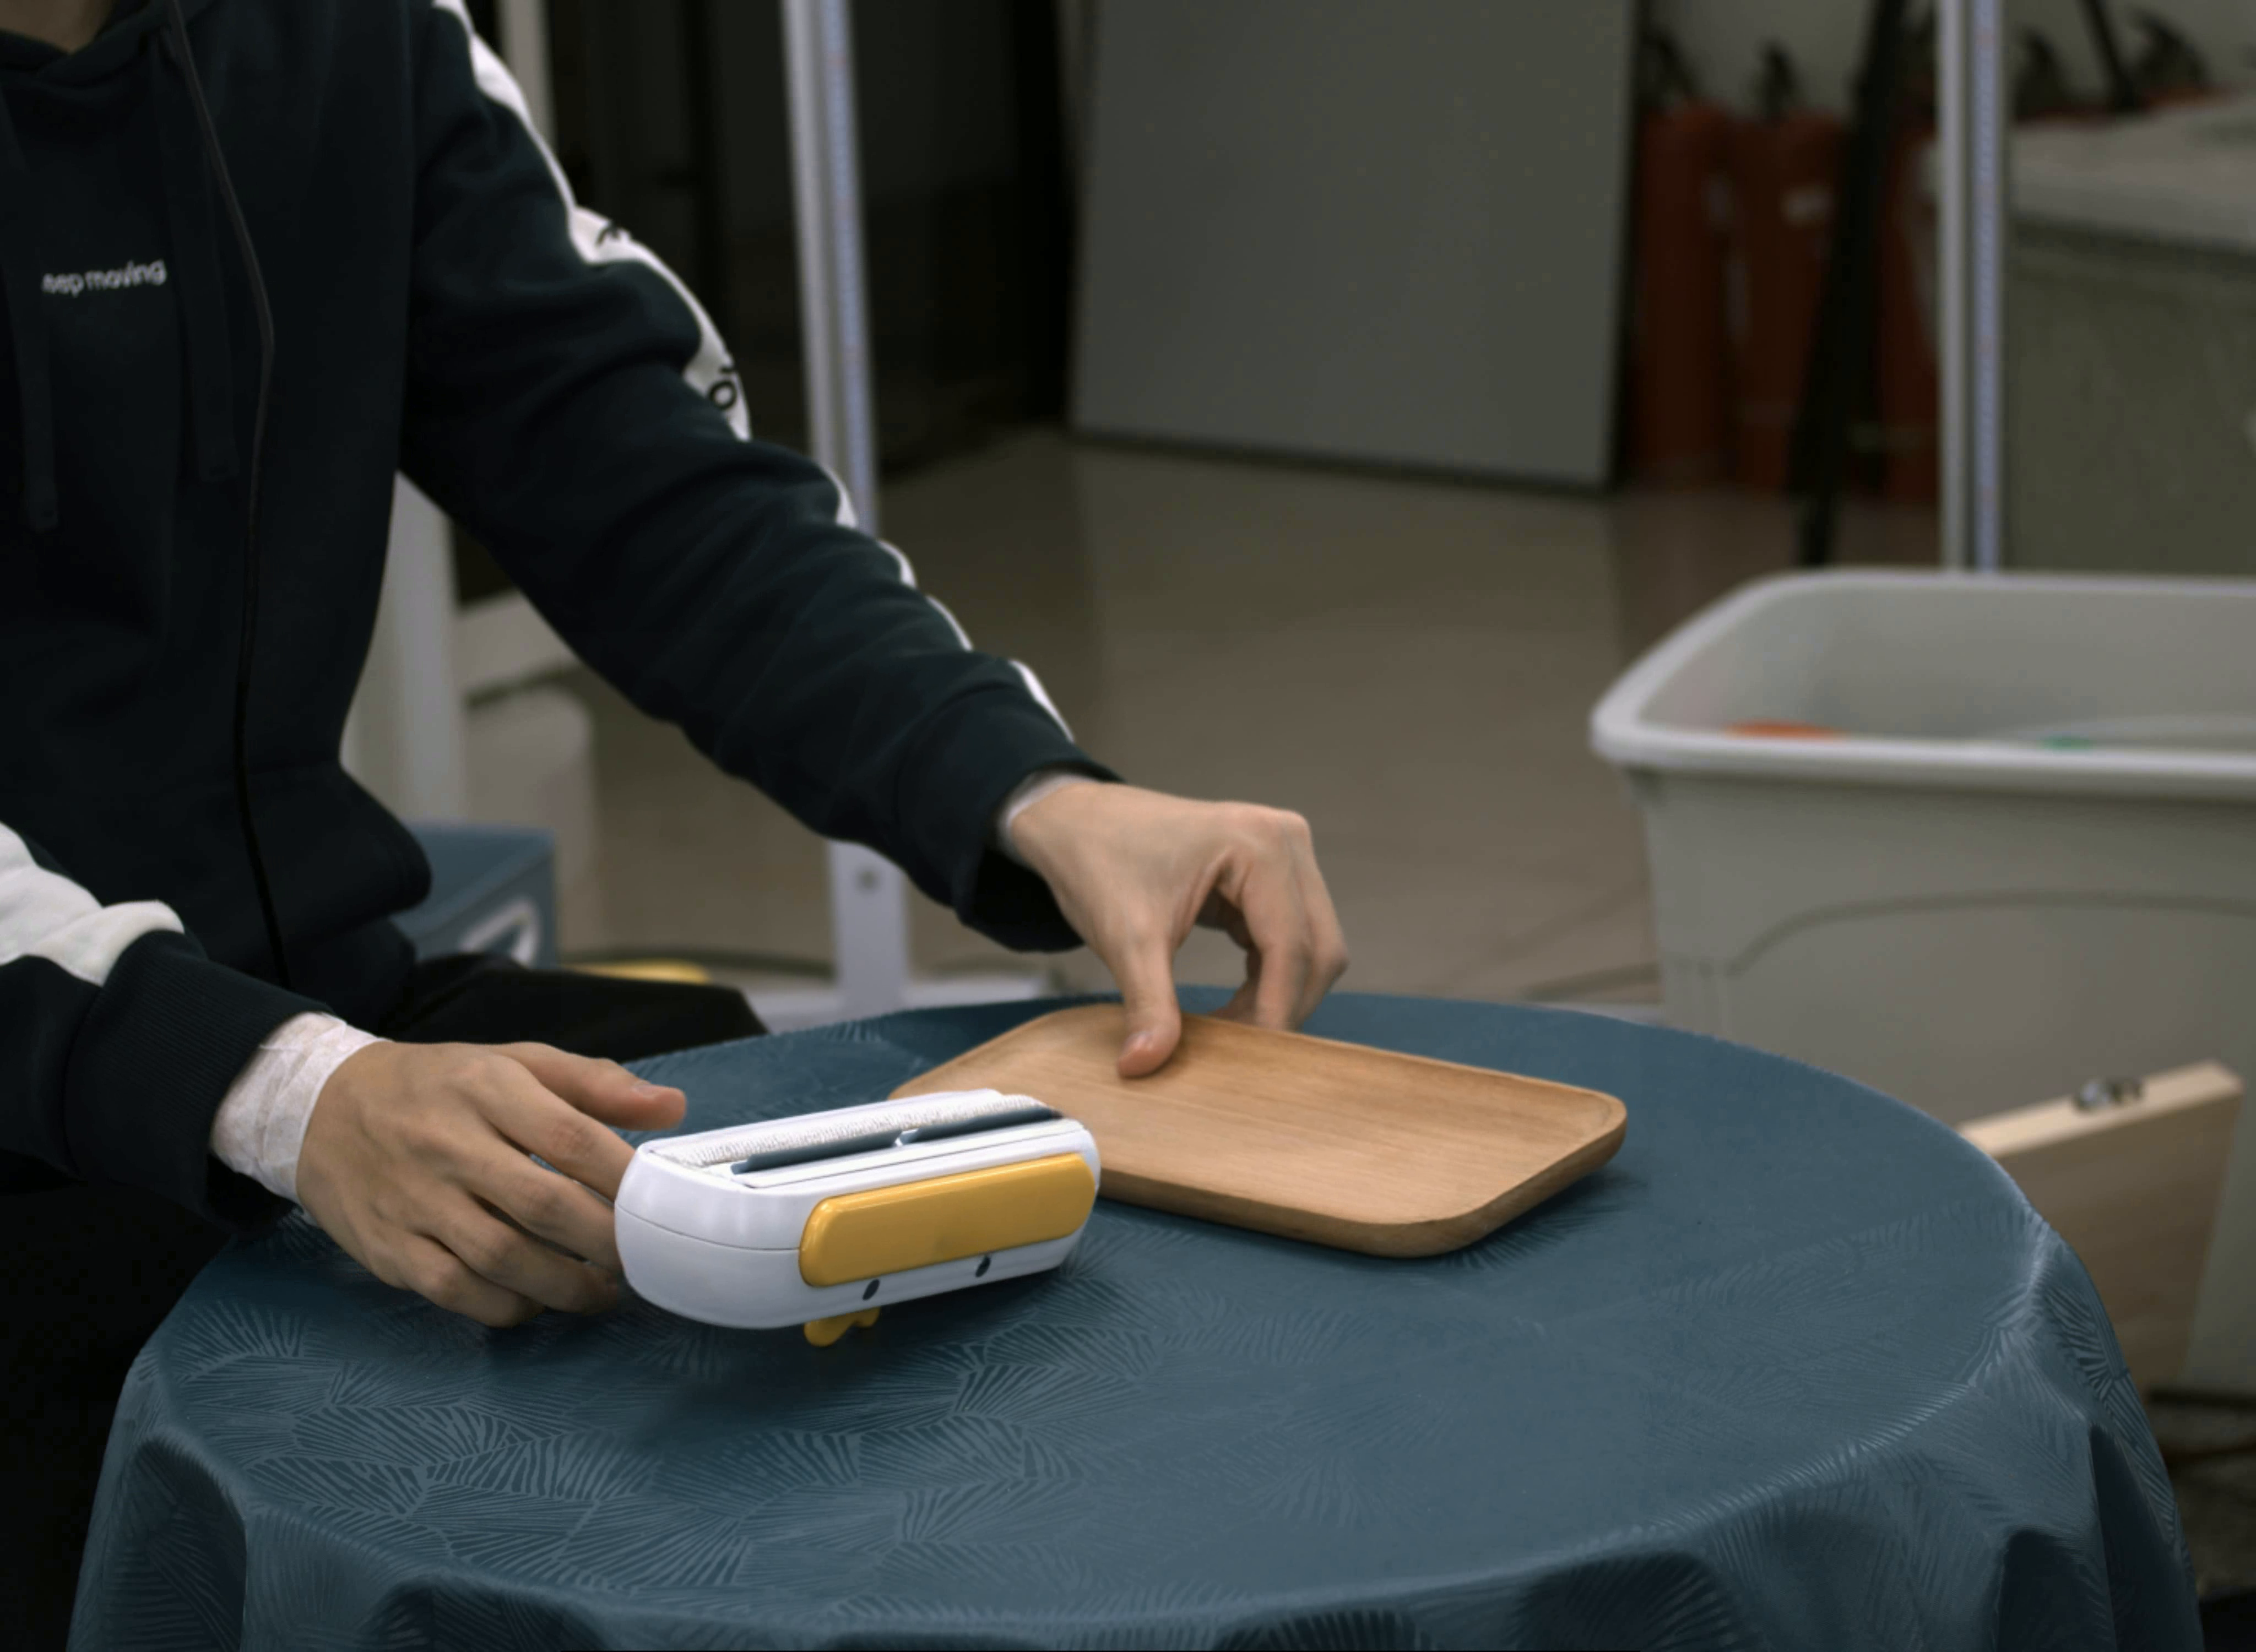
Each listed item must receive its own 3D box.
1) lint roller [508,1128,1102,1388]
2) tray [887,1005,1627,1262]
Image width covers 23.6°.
[{"bbox_3d":[-0.125,0.138,1.678,0.194,0.075,0.189,-12,-3,42],"label":"lint roller"},{"bbox_3d":[0.041,0.101,1.792,0.253,0.023,0.128,8,21,42],"label":"tray"}]
